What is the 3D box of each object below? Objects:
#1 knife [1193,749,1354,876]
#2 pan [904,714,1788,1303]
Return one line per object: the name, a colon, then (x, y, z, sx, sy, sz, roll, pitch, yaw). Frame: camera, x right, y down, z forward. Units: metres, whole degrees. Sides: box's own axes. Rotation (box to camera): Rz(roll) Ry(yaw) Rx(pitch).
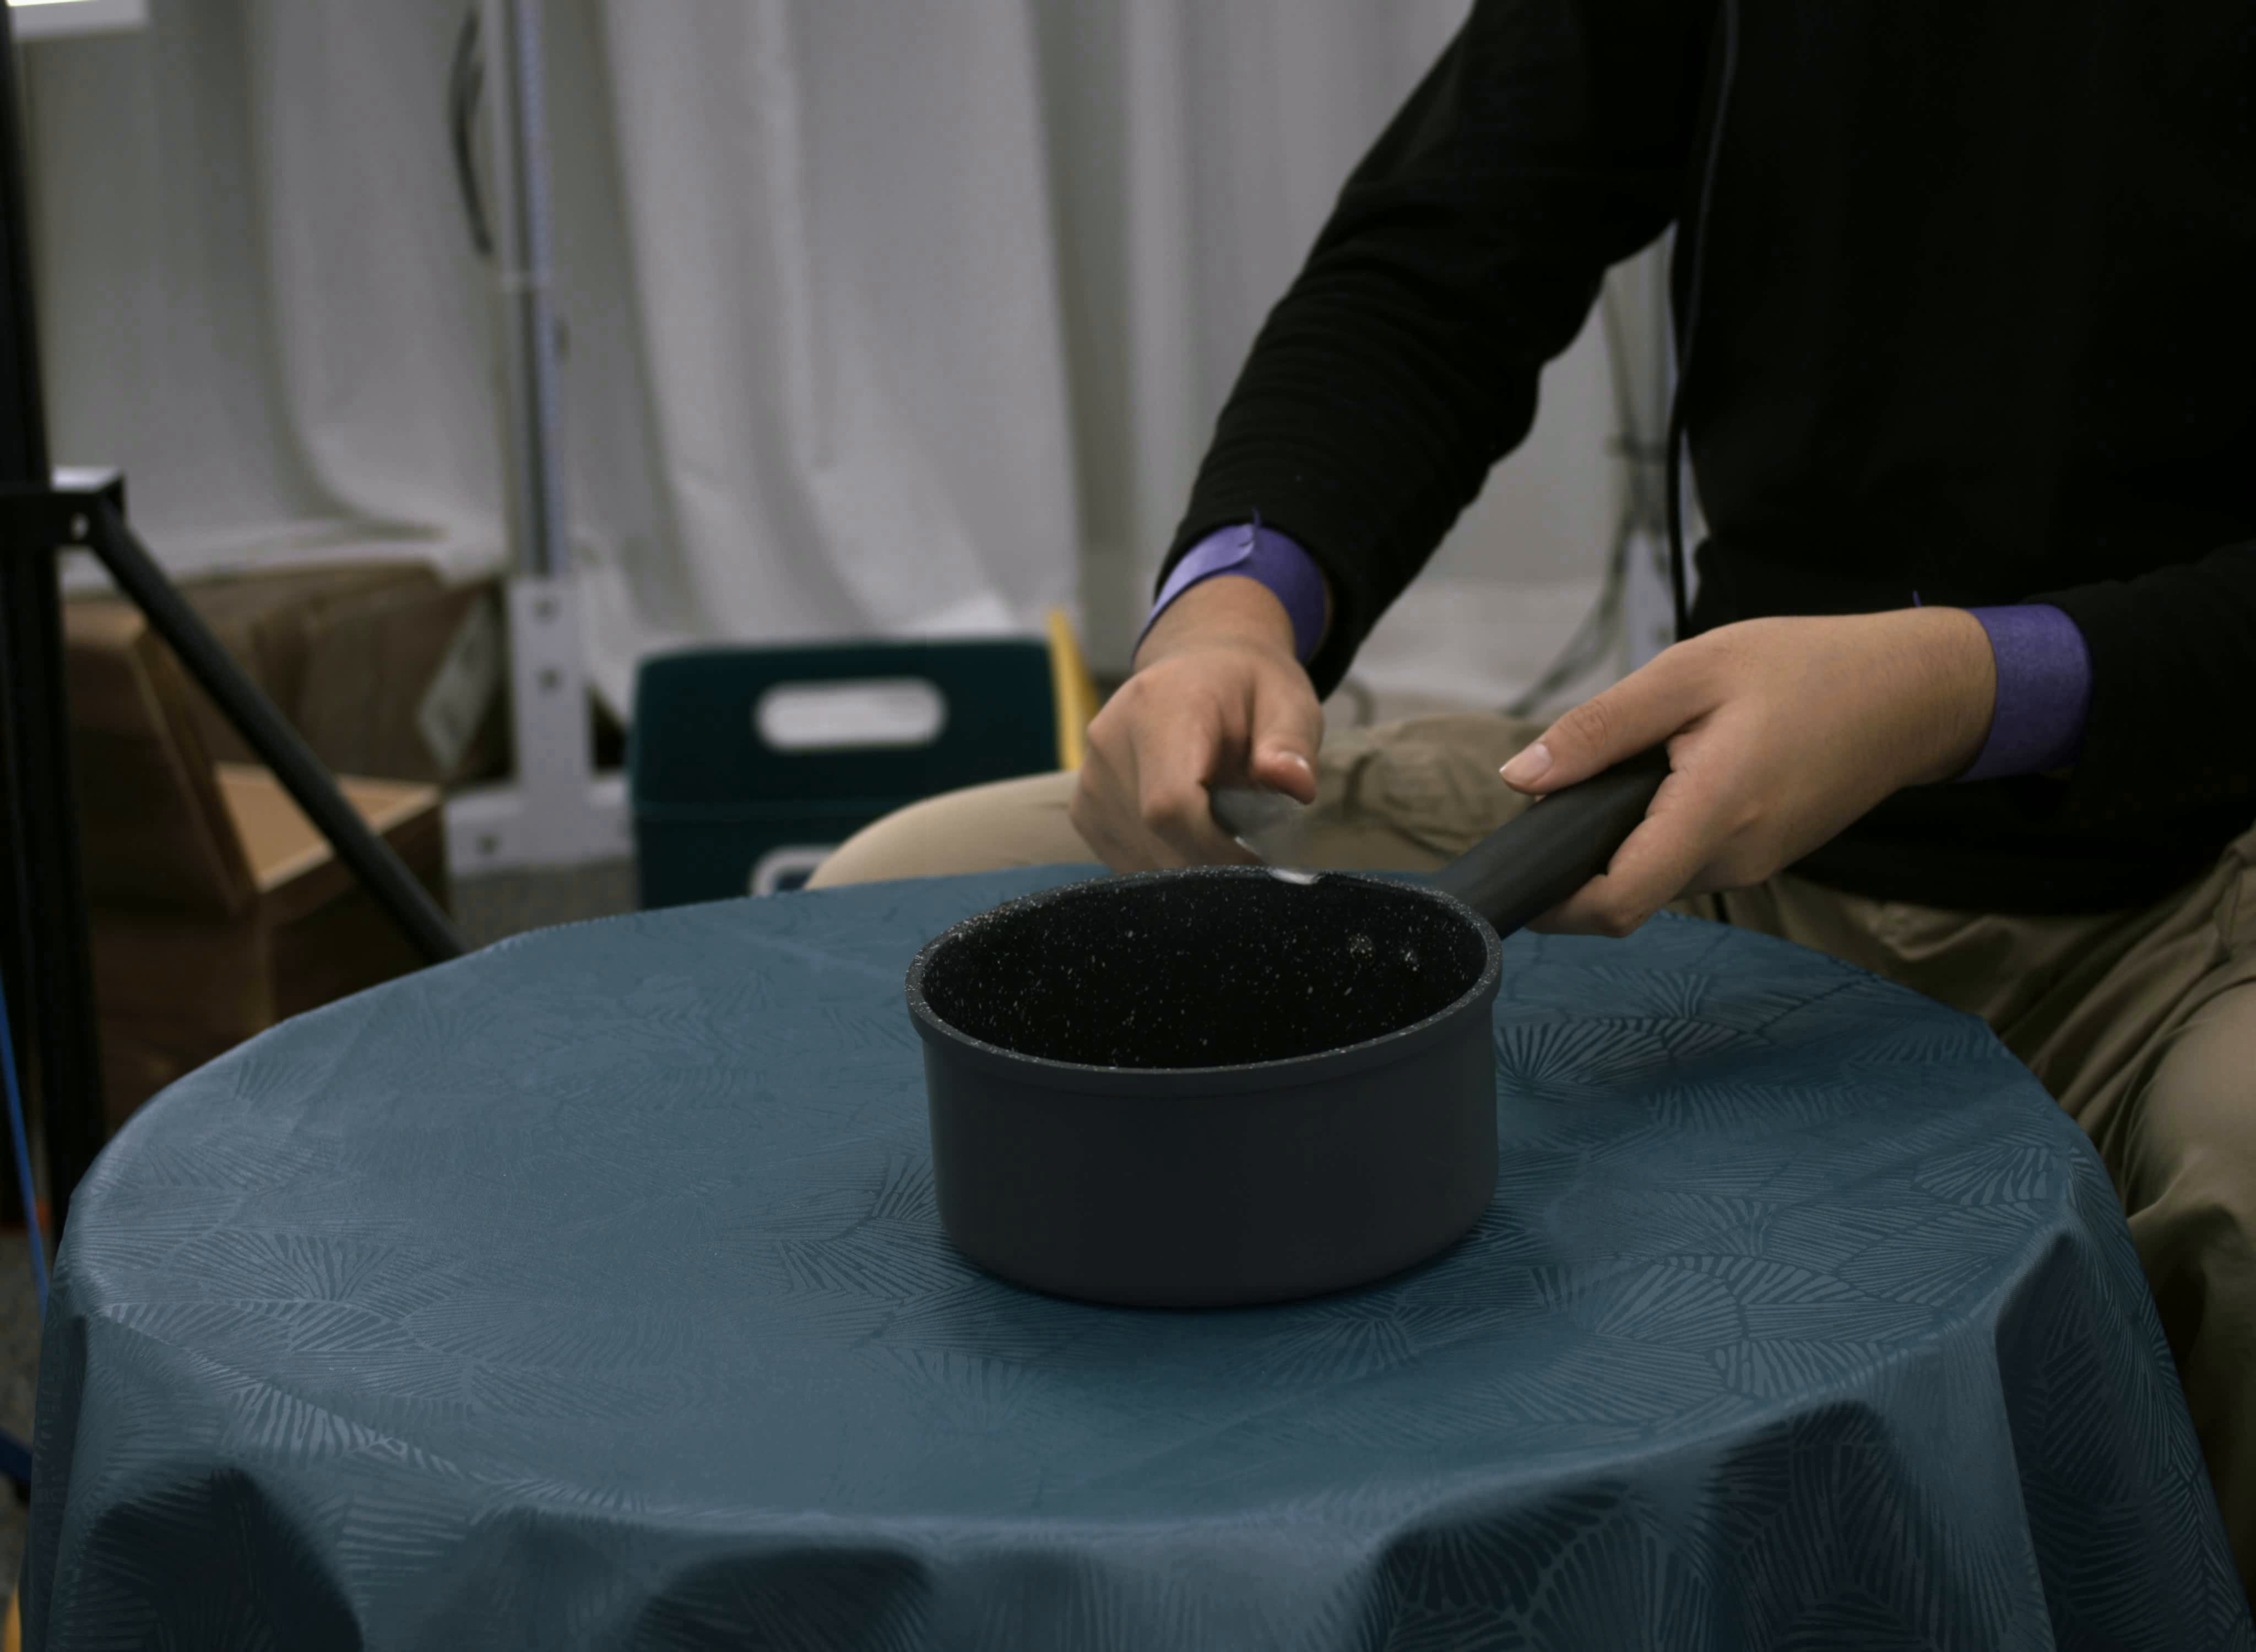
knife: (0.044, -0.001, 1.626, 0.024, 0.016, 0.240, -30, 10, -3)
pan: (0.079, 0.050, 1.568, 0.322, 0.086, 0.176, -21, 25, -39)
